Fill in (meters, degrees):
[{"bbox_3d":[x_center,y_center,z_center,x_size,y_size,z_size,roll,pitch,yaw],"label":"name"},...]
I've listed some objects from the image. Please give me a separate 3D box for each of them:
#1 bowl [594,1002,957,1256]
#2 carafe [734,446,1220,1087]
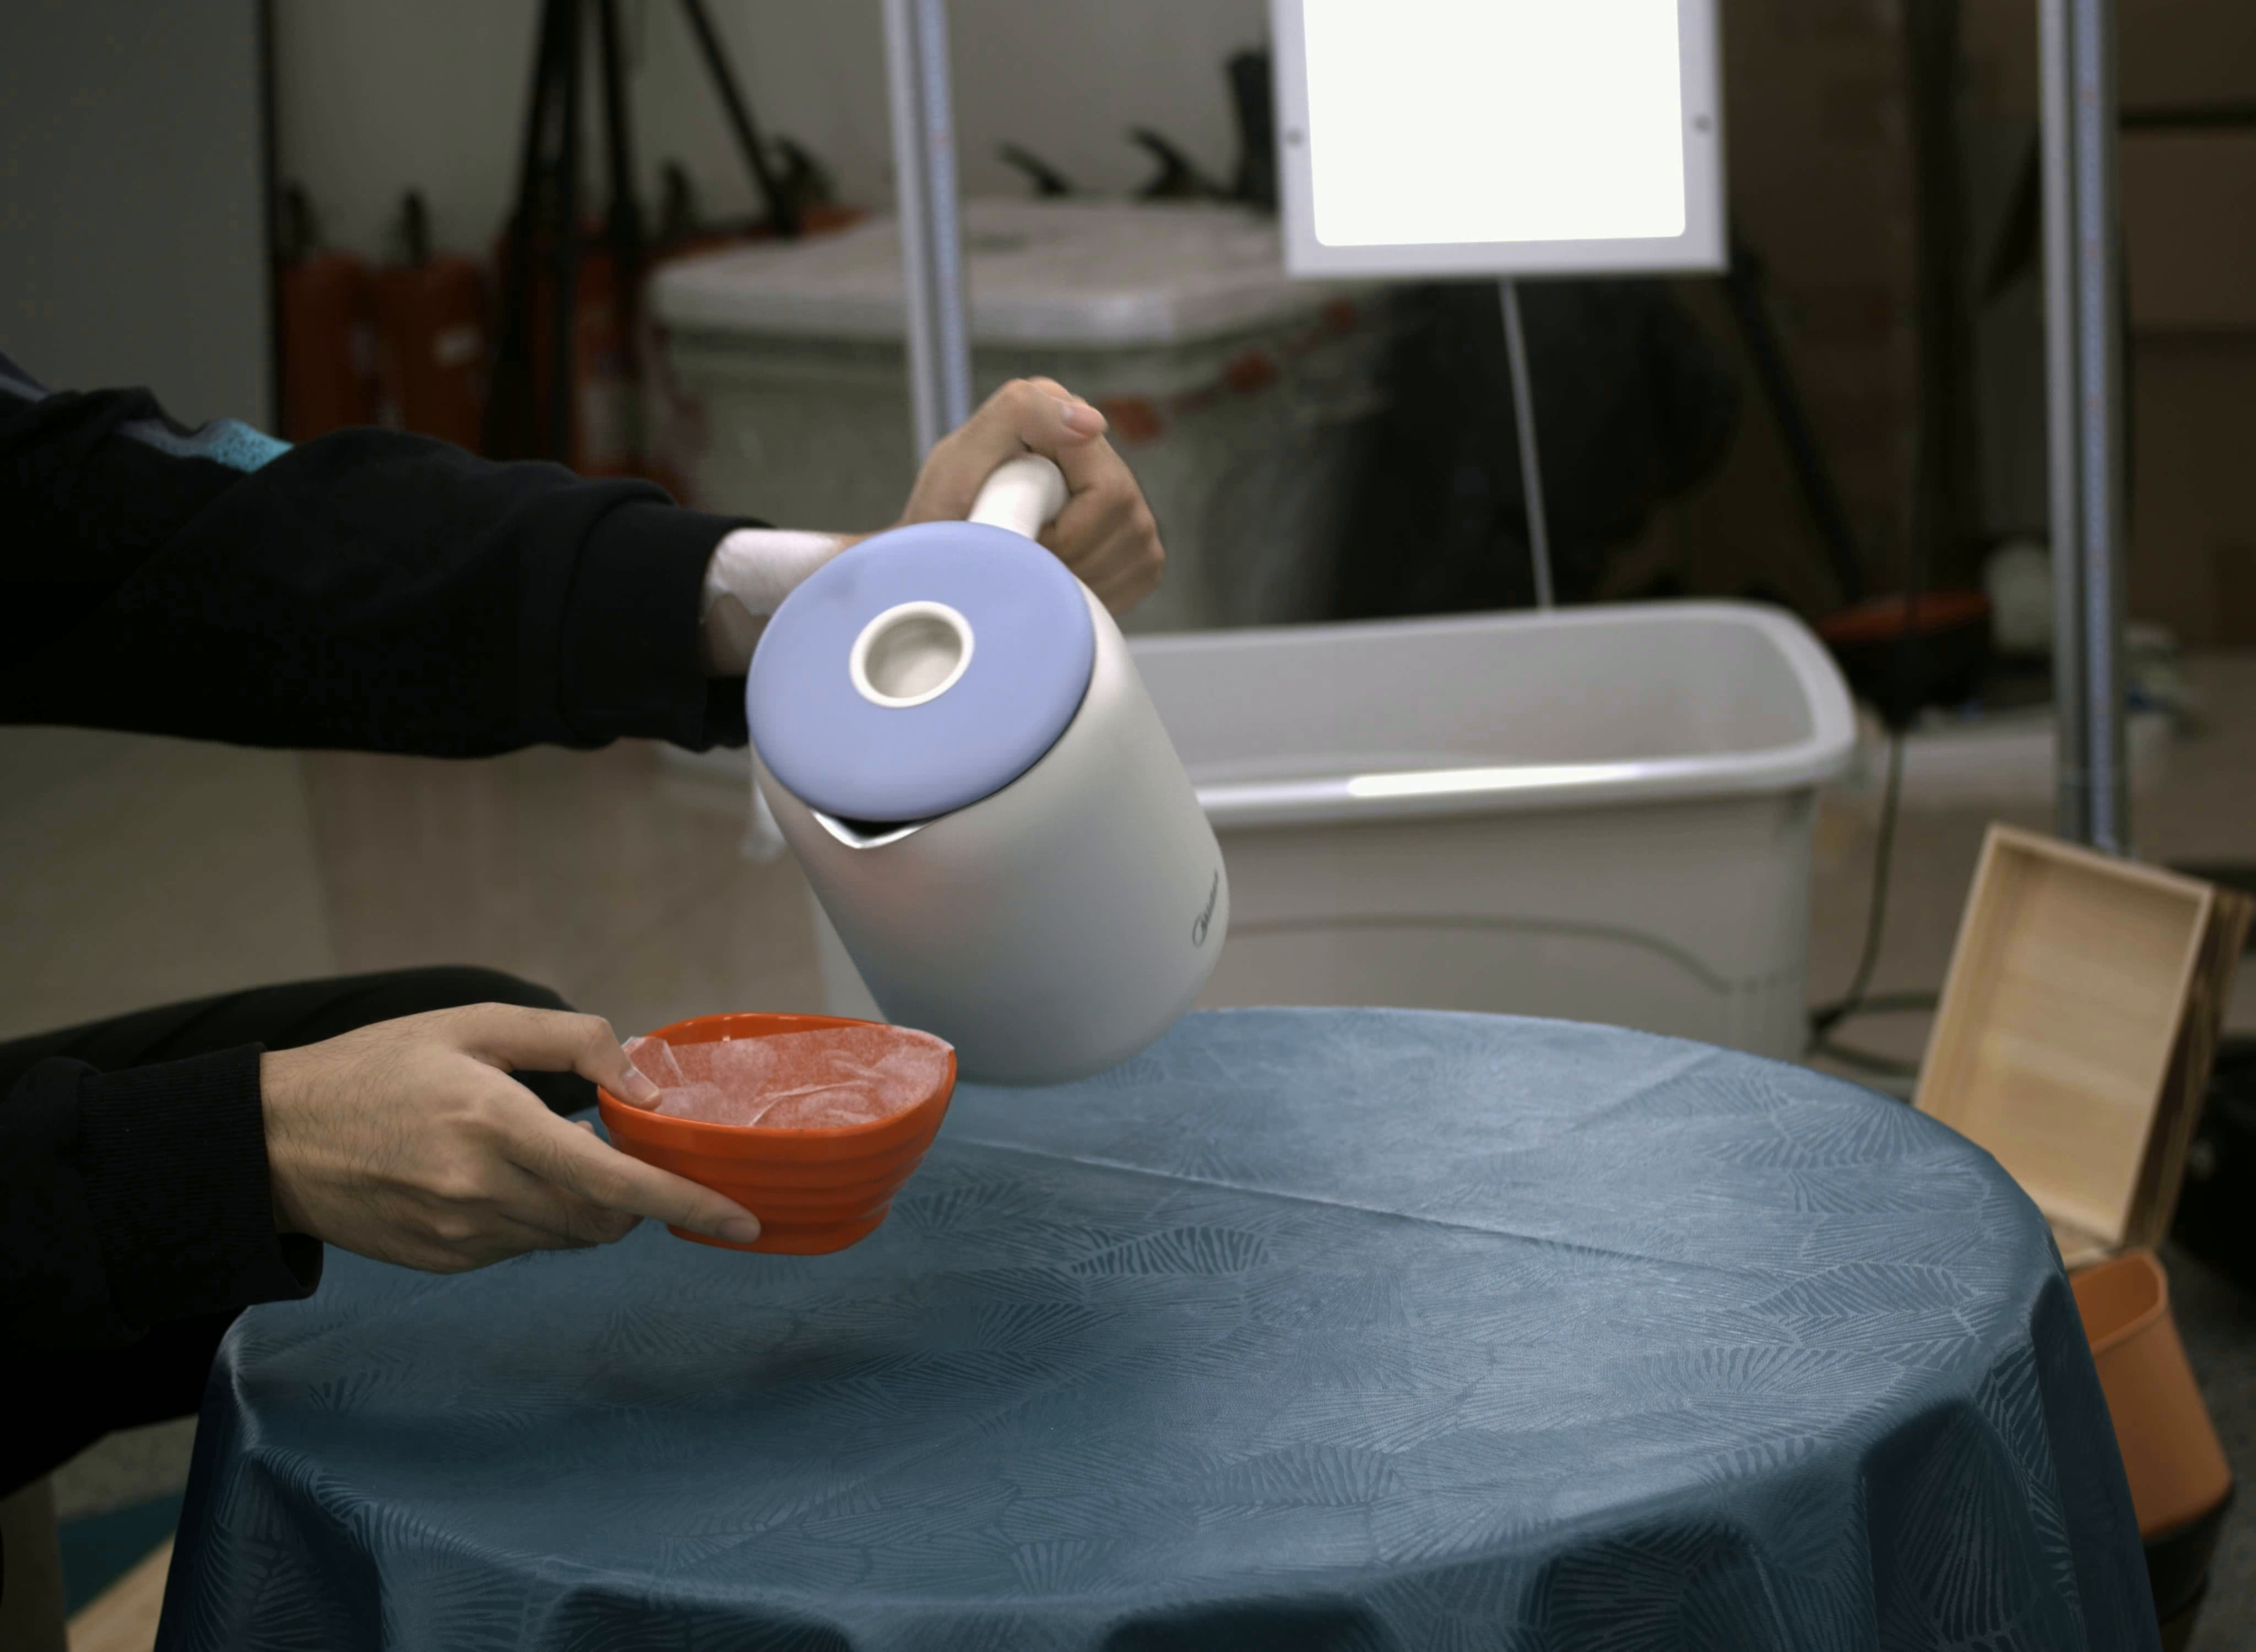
[{"bbox_3d":[-0.111,0.099,1.749,0.118,0.051,0.118,0,19,-2],"label":"bowl"},{"bbox_3d":[-0.044,-0.028,1.861,0.134,0.181,0.189,3,57,20],"label":"carafe"}]
